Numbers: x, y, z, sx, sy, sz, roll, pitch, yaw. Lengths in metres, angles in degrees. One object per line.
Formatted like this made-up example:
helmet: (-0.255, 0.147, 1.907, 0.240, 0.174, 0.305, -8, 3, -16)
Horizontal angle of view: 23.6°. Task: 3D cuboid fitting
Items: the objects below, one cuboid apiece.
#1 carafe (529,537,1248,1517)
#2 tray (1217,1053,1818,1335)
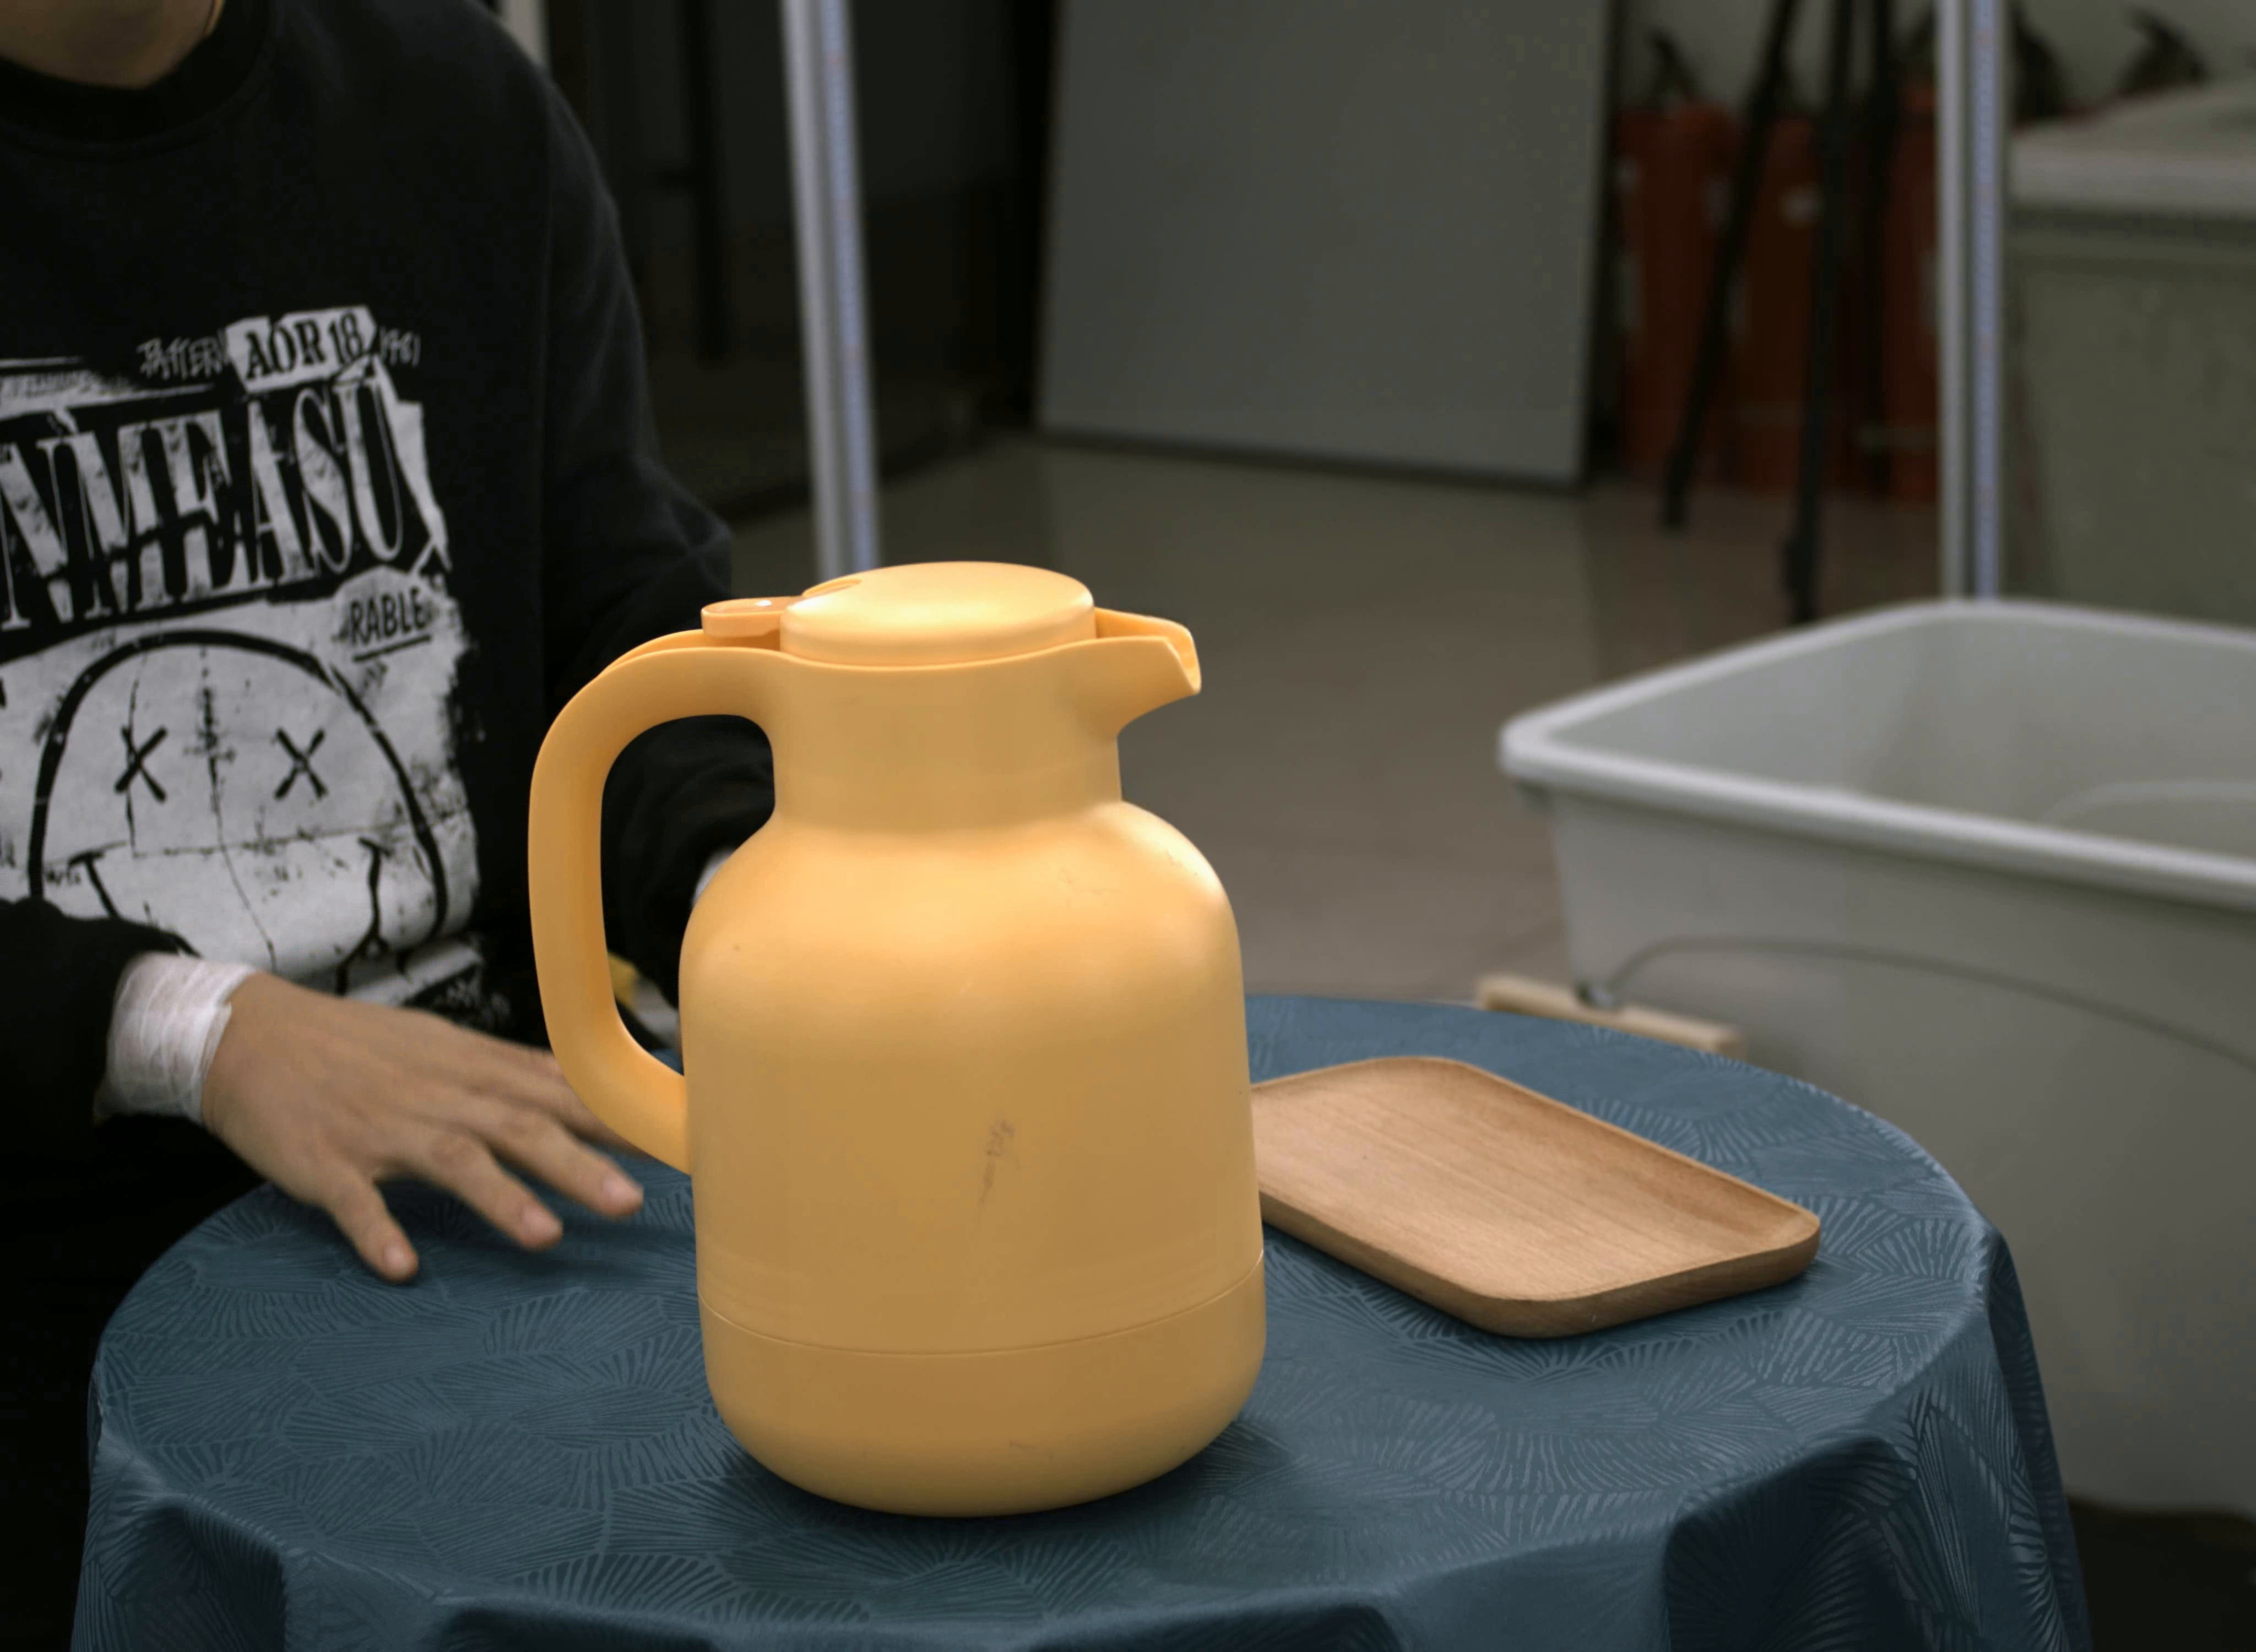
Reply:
carafe: (-0.067, 0.052, 1.525, 0.201, 0.263, 0.162, 1, 12, 13)
tray: (0.109, 0.116, 1.727, 0.127, 0.023, 0.253, -8, 13, -26)
